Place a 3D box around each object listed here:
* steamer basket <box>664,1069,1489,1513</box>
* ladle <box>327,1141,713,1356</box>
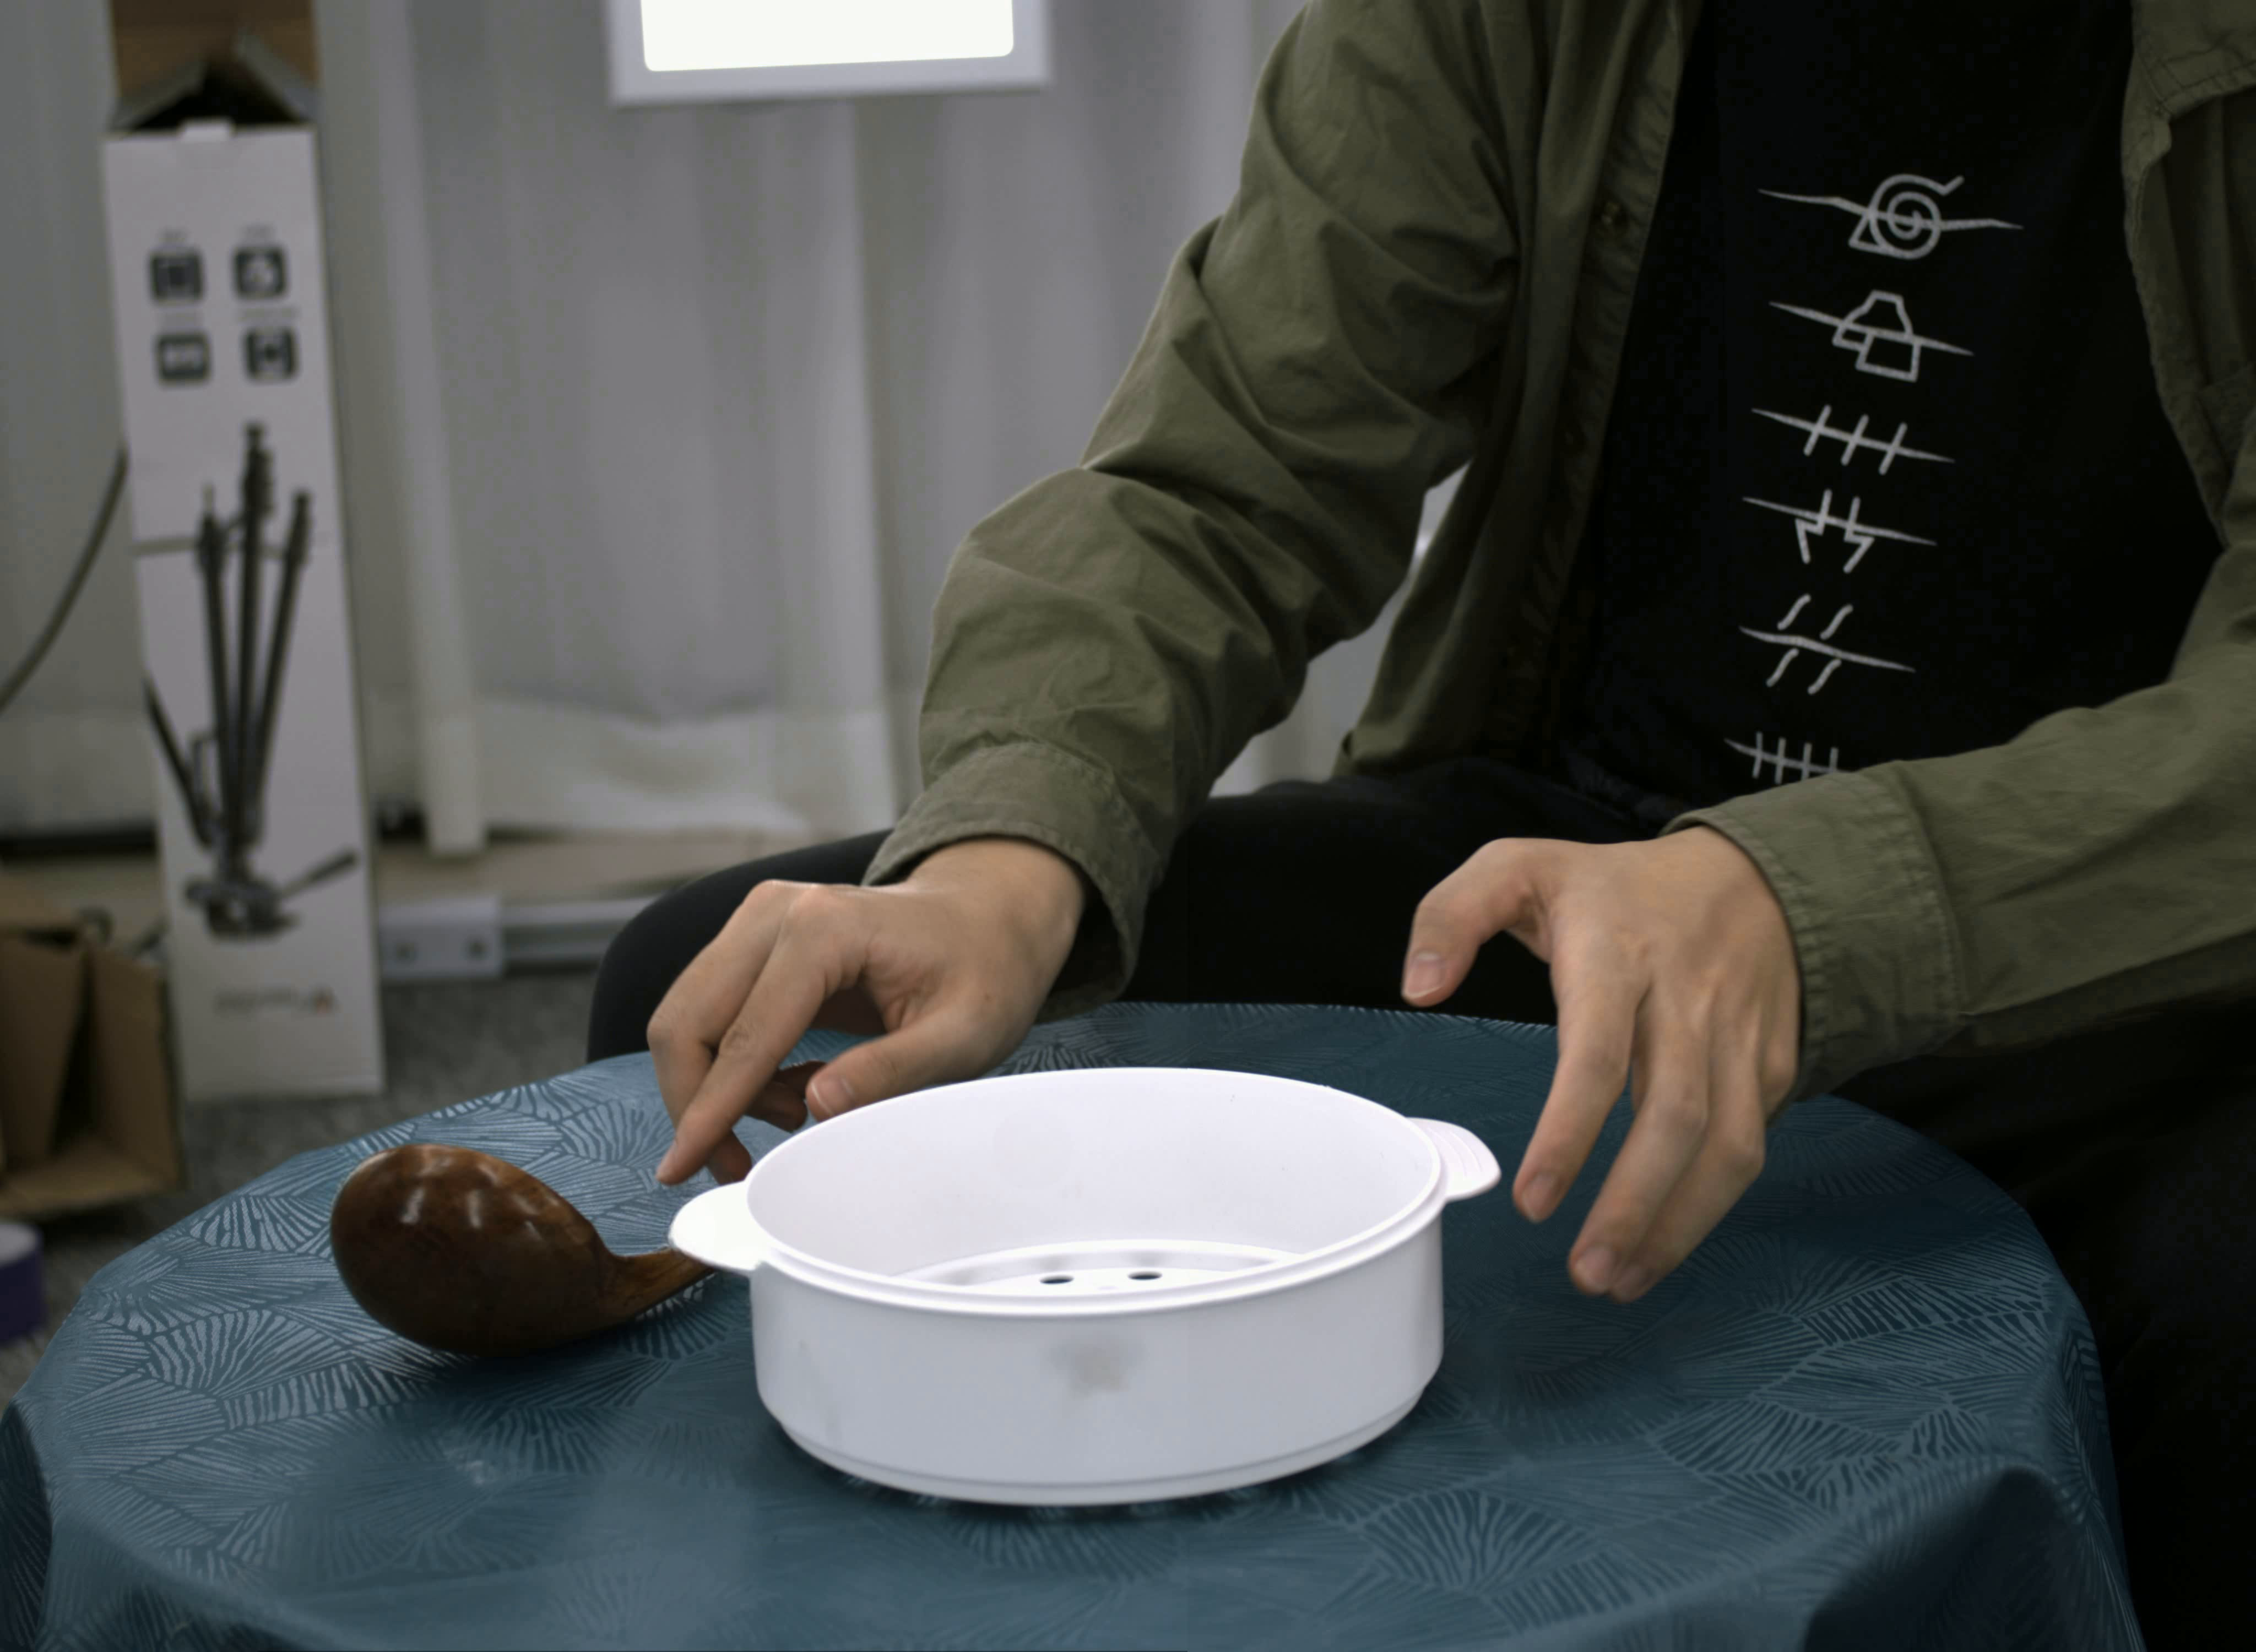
[{"bbox_3d":[-0.014,0.130,1.533,0.229,0.069,0.203,-4,15,-8],"label":"steamer basket"},{"bbox_3d":[-0.130,0.100,1.665,0.081,0.077,0.274,-25,-3,40],"label":"ladle"}]
